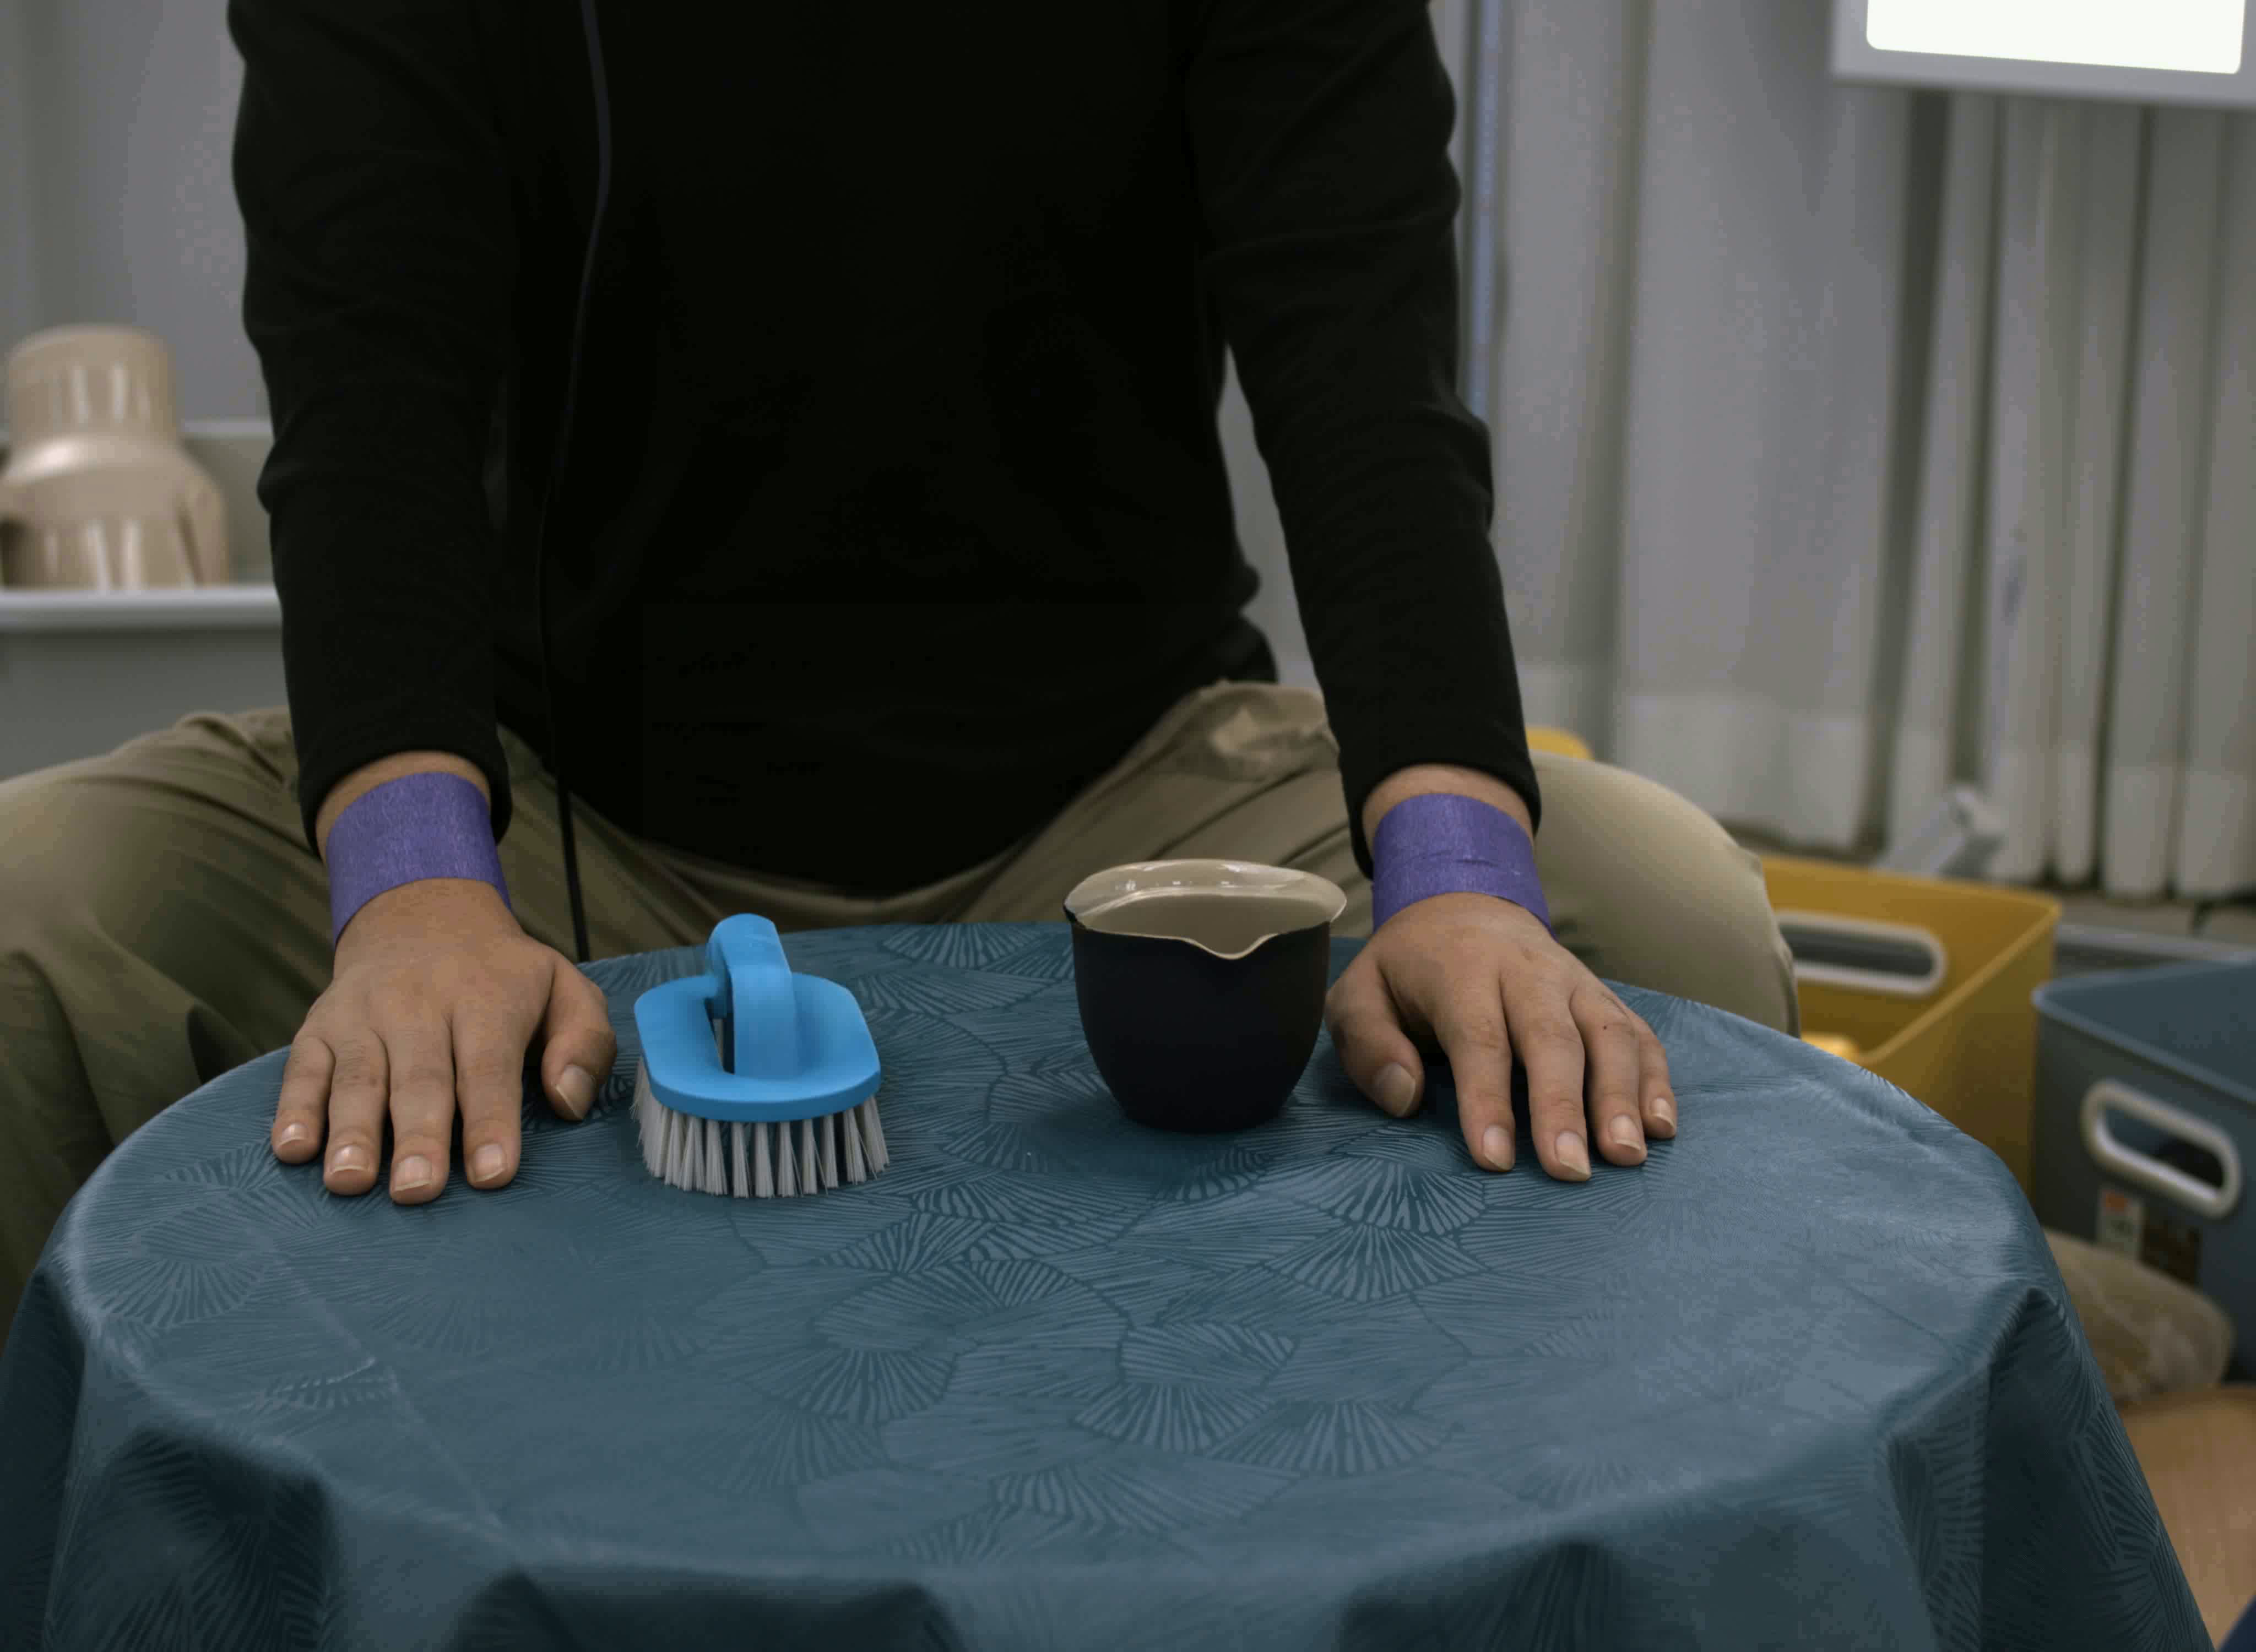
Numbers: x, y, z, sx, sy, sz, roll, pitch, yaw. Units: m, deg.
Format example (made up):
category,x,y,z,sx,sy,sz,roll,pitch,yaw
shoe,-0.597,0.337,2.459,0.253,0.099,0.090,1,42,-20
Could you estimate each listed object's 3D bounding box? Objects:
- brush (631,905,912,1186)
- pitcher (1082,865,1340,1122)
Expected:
category,x,y,z,sx,sy,sz,roll,pitch,yaw
brush,-0.116,0.064,1.669,0.084,0.064,0.141,-6,15,-7
pitcher,0.026,0.055,1.688,0.083,0.072,0.095,1,17,-4
